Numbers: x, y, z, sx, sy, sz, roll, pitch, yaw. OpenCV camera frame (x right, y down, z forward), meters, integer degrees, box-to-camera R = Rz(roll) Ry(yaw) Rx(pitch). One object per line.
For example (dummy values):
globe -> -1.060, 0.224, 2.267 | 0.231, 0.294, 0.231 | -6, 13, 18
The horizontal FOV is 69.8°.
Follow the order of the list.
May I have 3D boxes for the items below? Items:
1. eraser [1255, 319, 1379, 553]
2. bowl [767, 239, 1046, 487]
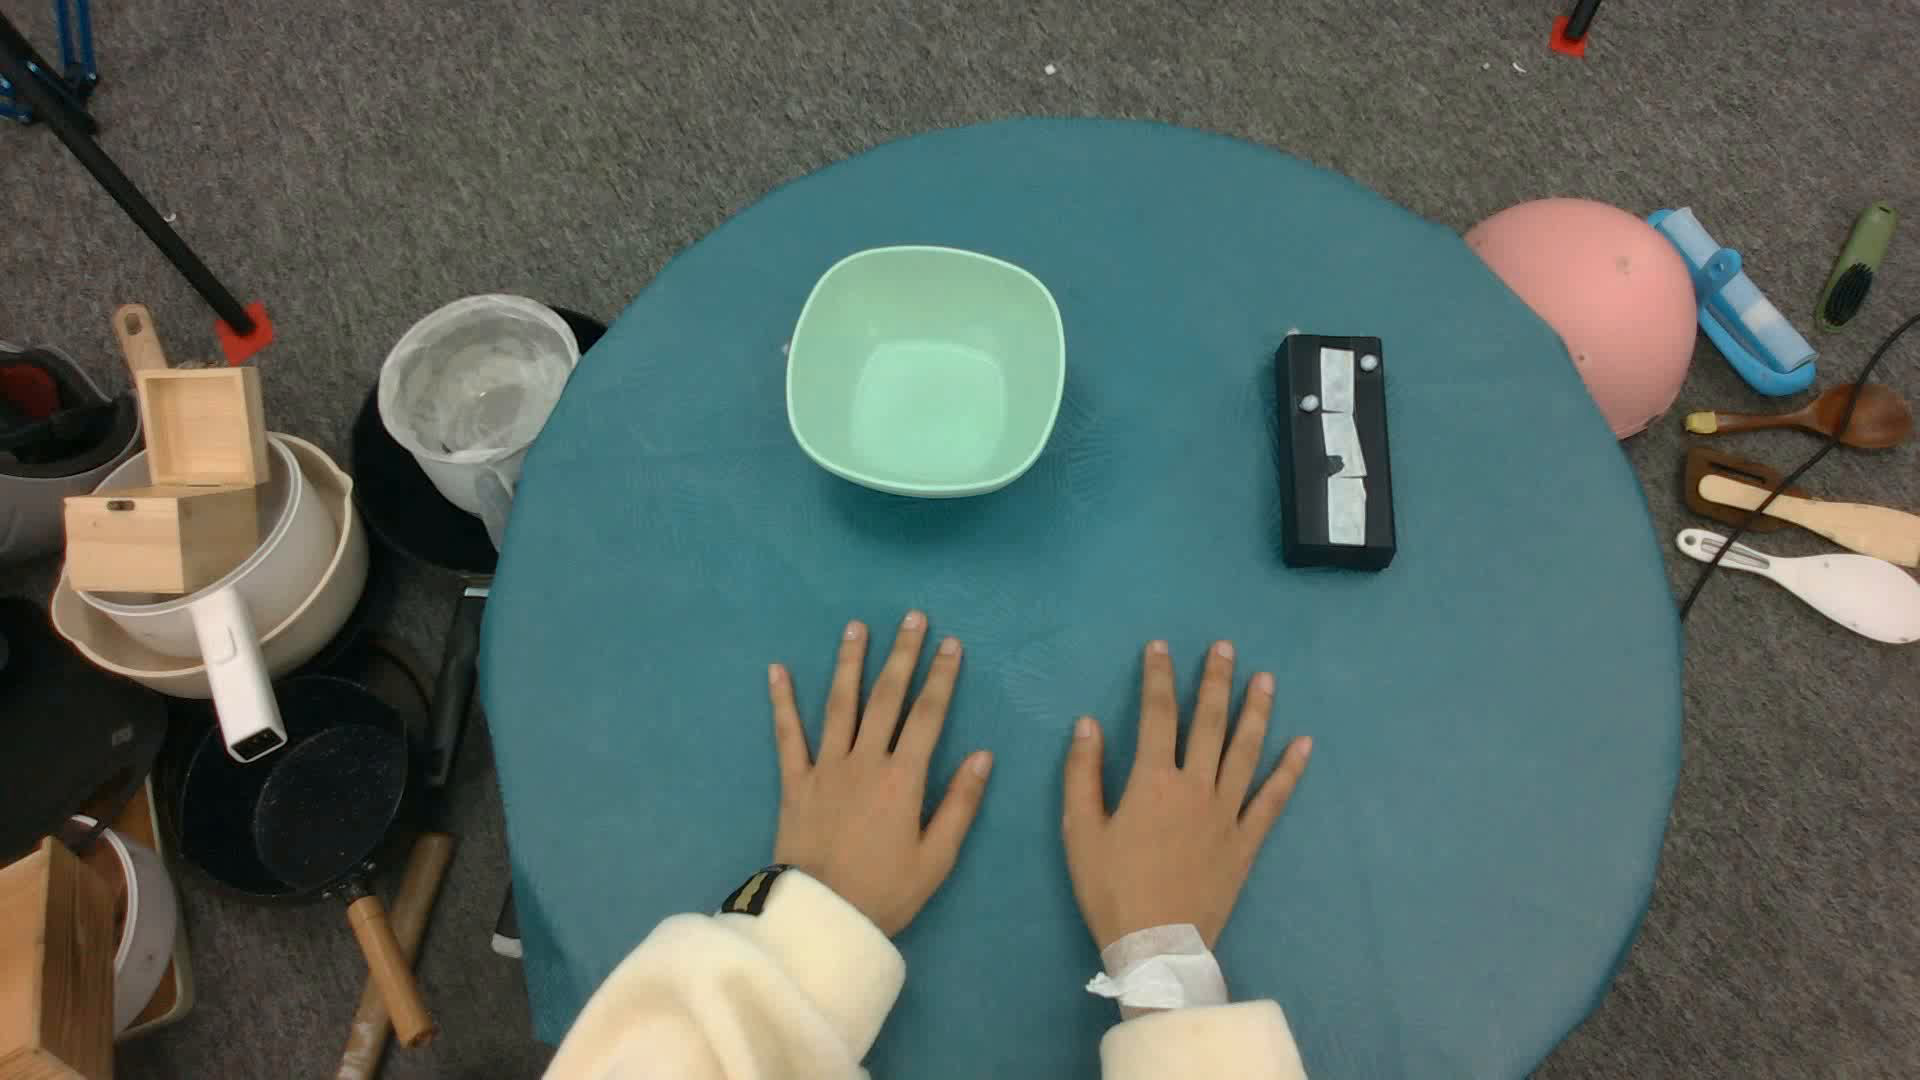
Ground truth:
eraser -> 0.184, -0.055, 0.719 | 0.053, 0.030, 0.126 | 0, 70, 1
bowl -> -0.026, -0.082, 0.711 | 0.151, 0.058, 0.152 | -1, 67, 2
